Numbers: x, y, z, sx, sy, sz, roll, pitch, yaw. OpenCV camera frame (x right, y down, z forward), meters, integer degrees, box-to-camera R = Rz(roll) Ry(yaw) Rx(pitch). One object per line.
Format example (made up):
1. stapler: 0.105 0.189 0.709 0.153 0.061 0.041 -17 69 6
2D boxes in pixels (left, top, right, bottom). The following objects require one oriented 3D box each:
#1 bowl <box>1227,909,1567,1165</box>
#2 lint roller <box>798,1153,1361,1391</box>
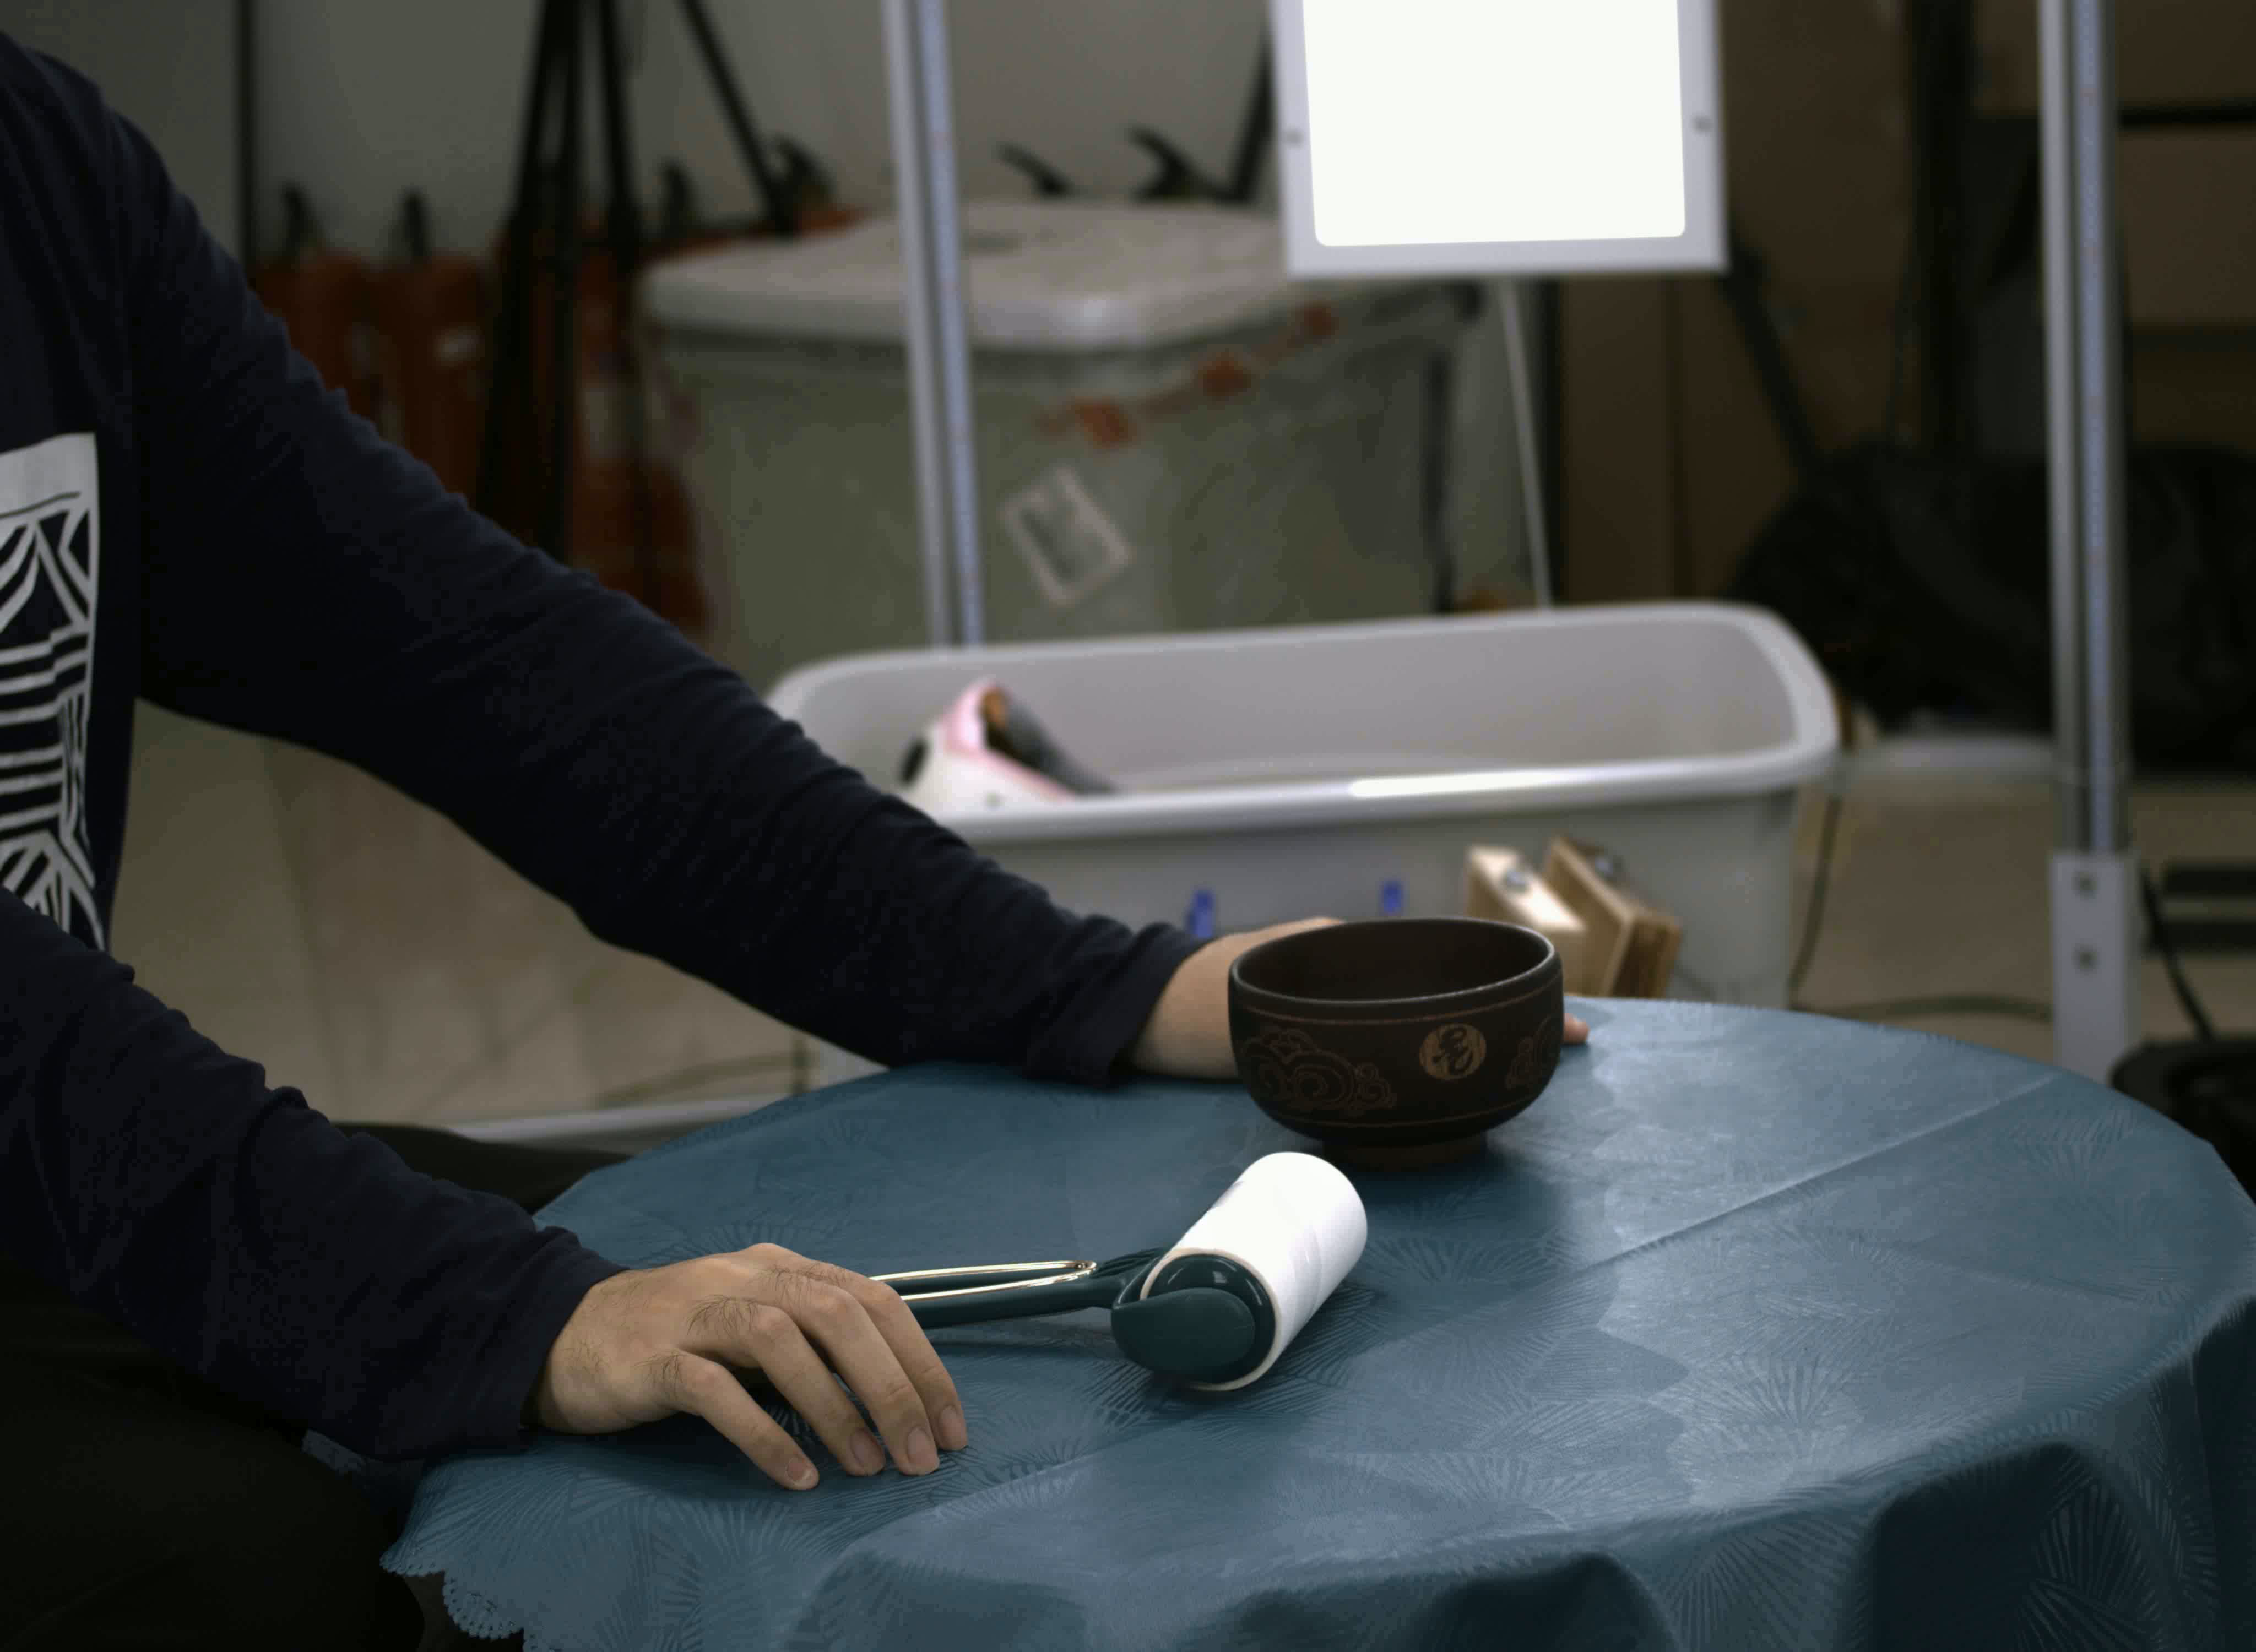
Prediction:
1. bowl: 0.096 0.077 1.918 0.118 0.070 0.118 -7 14 0
2. lint roller: -0.023 0.143 1.759 0.182 0.048 0.132 -3 14 20
